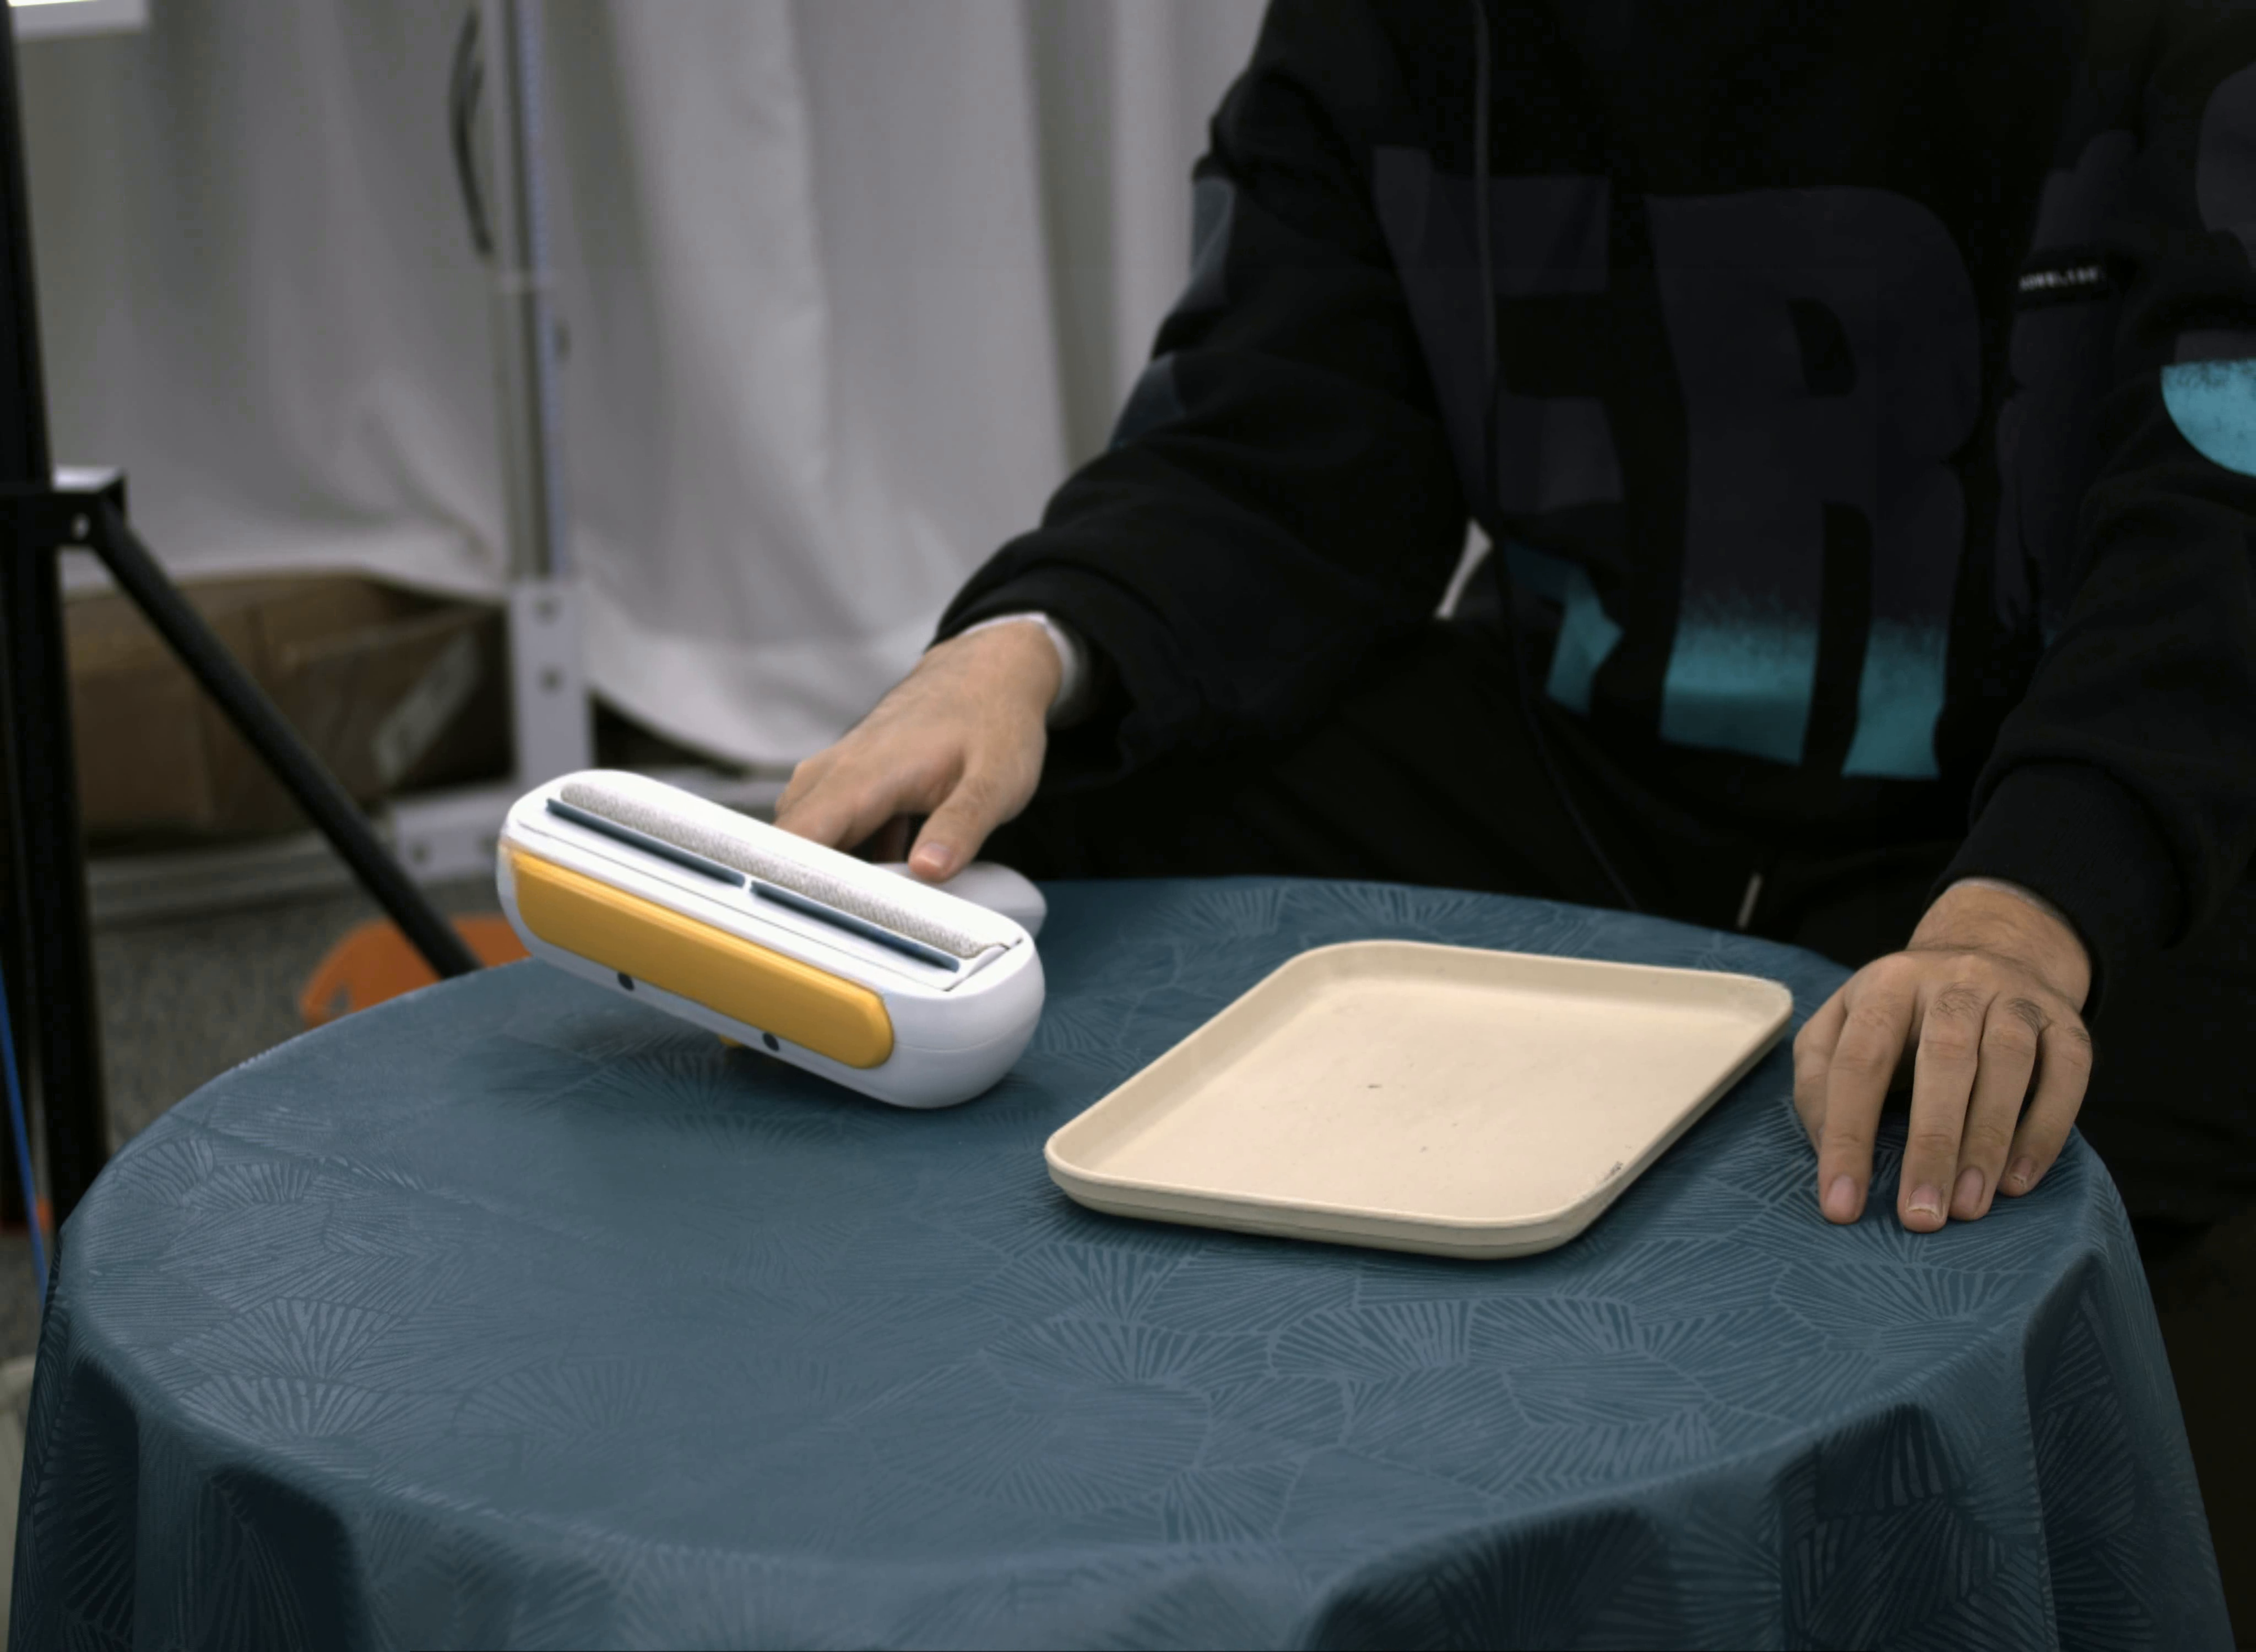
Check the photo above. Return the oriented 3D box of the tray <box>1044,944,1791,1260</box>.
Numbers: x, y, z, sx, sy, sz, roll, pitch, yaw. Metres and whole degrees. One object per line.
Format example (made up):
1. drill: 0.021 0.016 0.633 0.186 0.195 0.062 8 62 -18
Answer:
1. tray: 0.091 0.082 1.601 0.174 0.017 0.236 5 17 26

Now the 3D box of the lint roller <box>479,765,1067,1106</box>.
1. lint roller: -0.087 0.027 1.733 0.197 0.074 0.188 17 23 34
